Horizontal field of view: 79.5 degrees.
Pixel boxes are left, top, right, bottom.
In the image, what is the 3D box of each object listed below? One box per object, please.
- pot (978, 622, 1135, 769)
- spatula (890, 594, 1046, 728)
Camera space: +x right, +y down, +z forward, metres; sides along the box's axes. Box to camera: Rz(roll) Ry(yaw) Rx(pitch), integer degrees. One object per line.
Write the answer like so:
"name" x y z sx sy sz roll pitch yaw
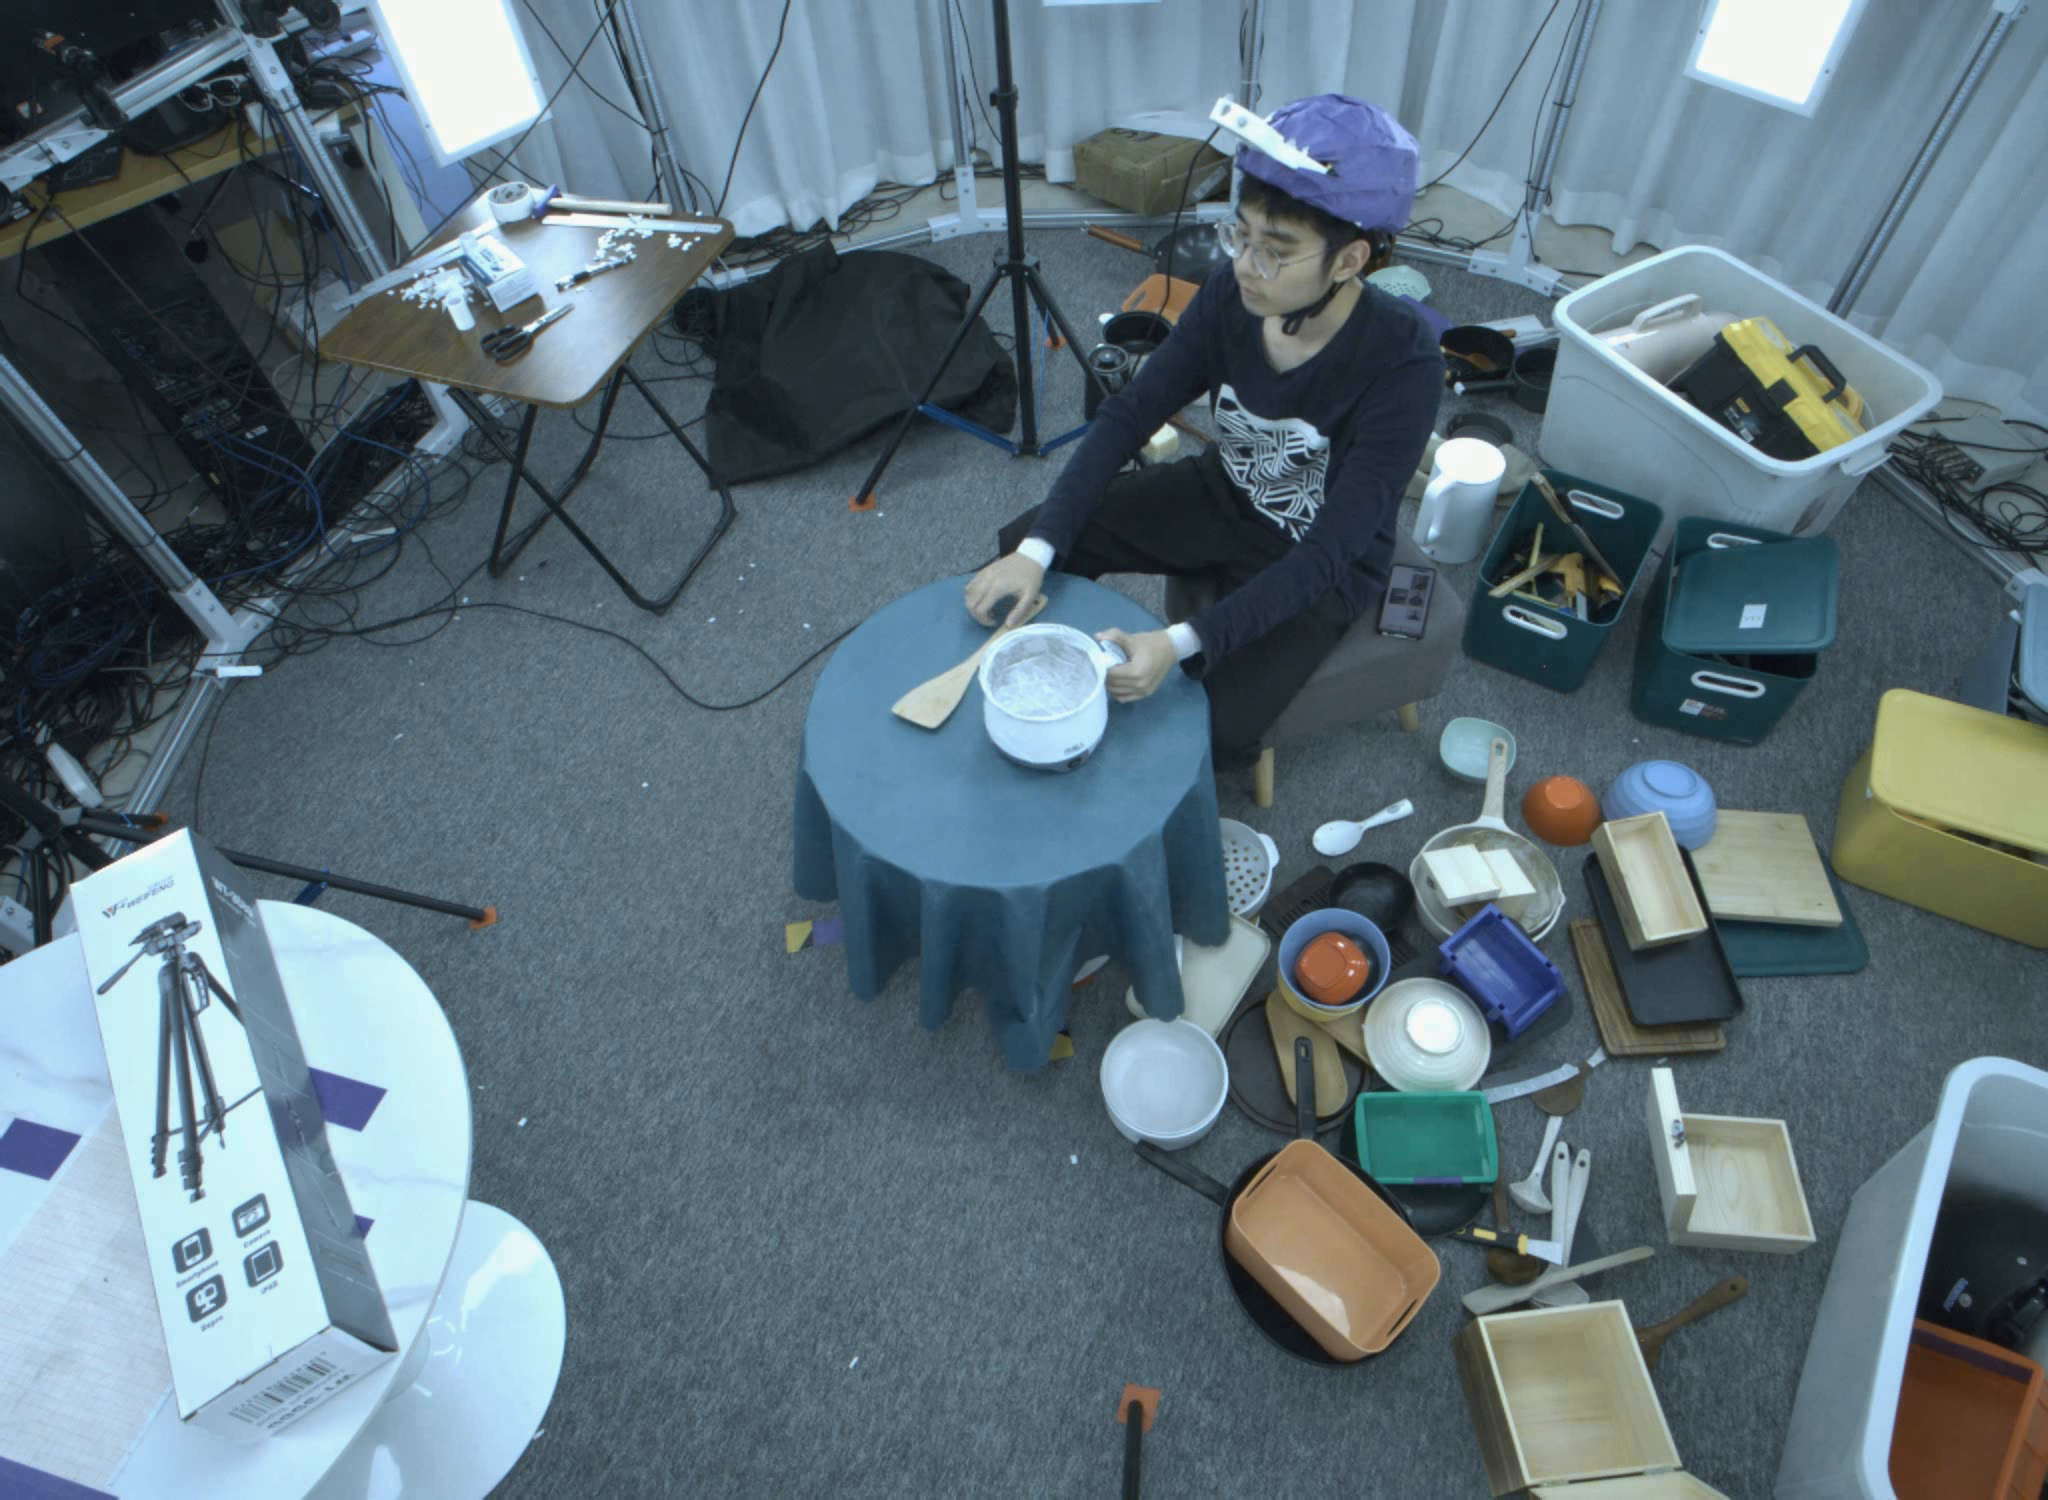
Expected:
"pot" 0.053 -0.087 1.767 0.235 0.138 0.175 -26 59 -14
"spatula" -0.071 -0.143 1.889 0.078 0.017 0.329 33 61 21
